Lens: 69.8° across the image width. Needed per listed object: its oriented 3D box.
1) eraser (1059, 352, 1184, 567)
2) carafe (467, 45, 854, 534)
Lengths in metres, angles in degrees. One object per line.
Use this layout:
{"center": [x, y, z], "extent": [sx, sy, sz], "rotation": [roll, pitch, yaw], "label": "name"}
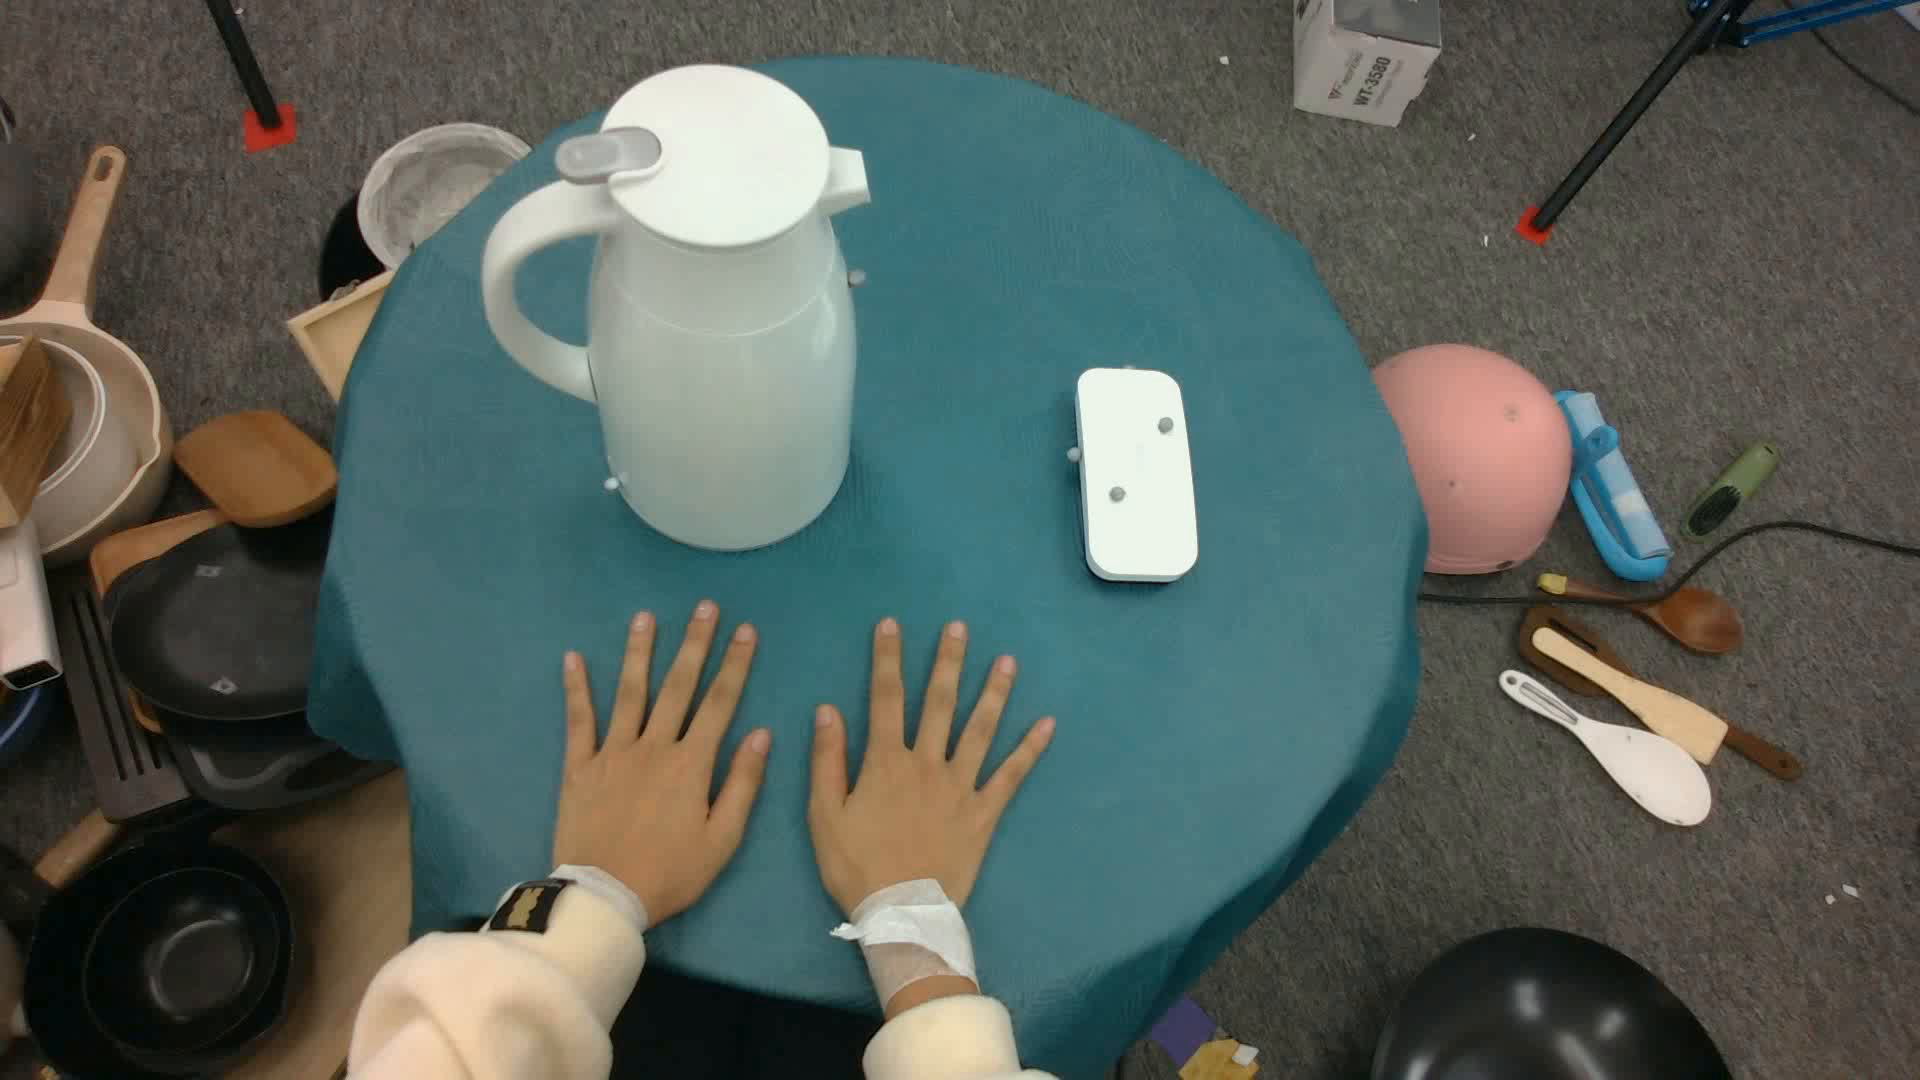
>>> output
{"center": [0.088, -0.047, 0.776], "extent": [0.063, 0.034, 0.132], "rotation": [1, 64, -7], "label": "eraser"}
{"center": [-0.138, -0.111, 0.649], "extent": [0.168, 0.247, 0.133], "rotation": [-8, 67, -12], "label": "carafe"}
